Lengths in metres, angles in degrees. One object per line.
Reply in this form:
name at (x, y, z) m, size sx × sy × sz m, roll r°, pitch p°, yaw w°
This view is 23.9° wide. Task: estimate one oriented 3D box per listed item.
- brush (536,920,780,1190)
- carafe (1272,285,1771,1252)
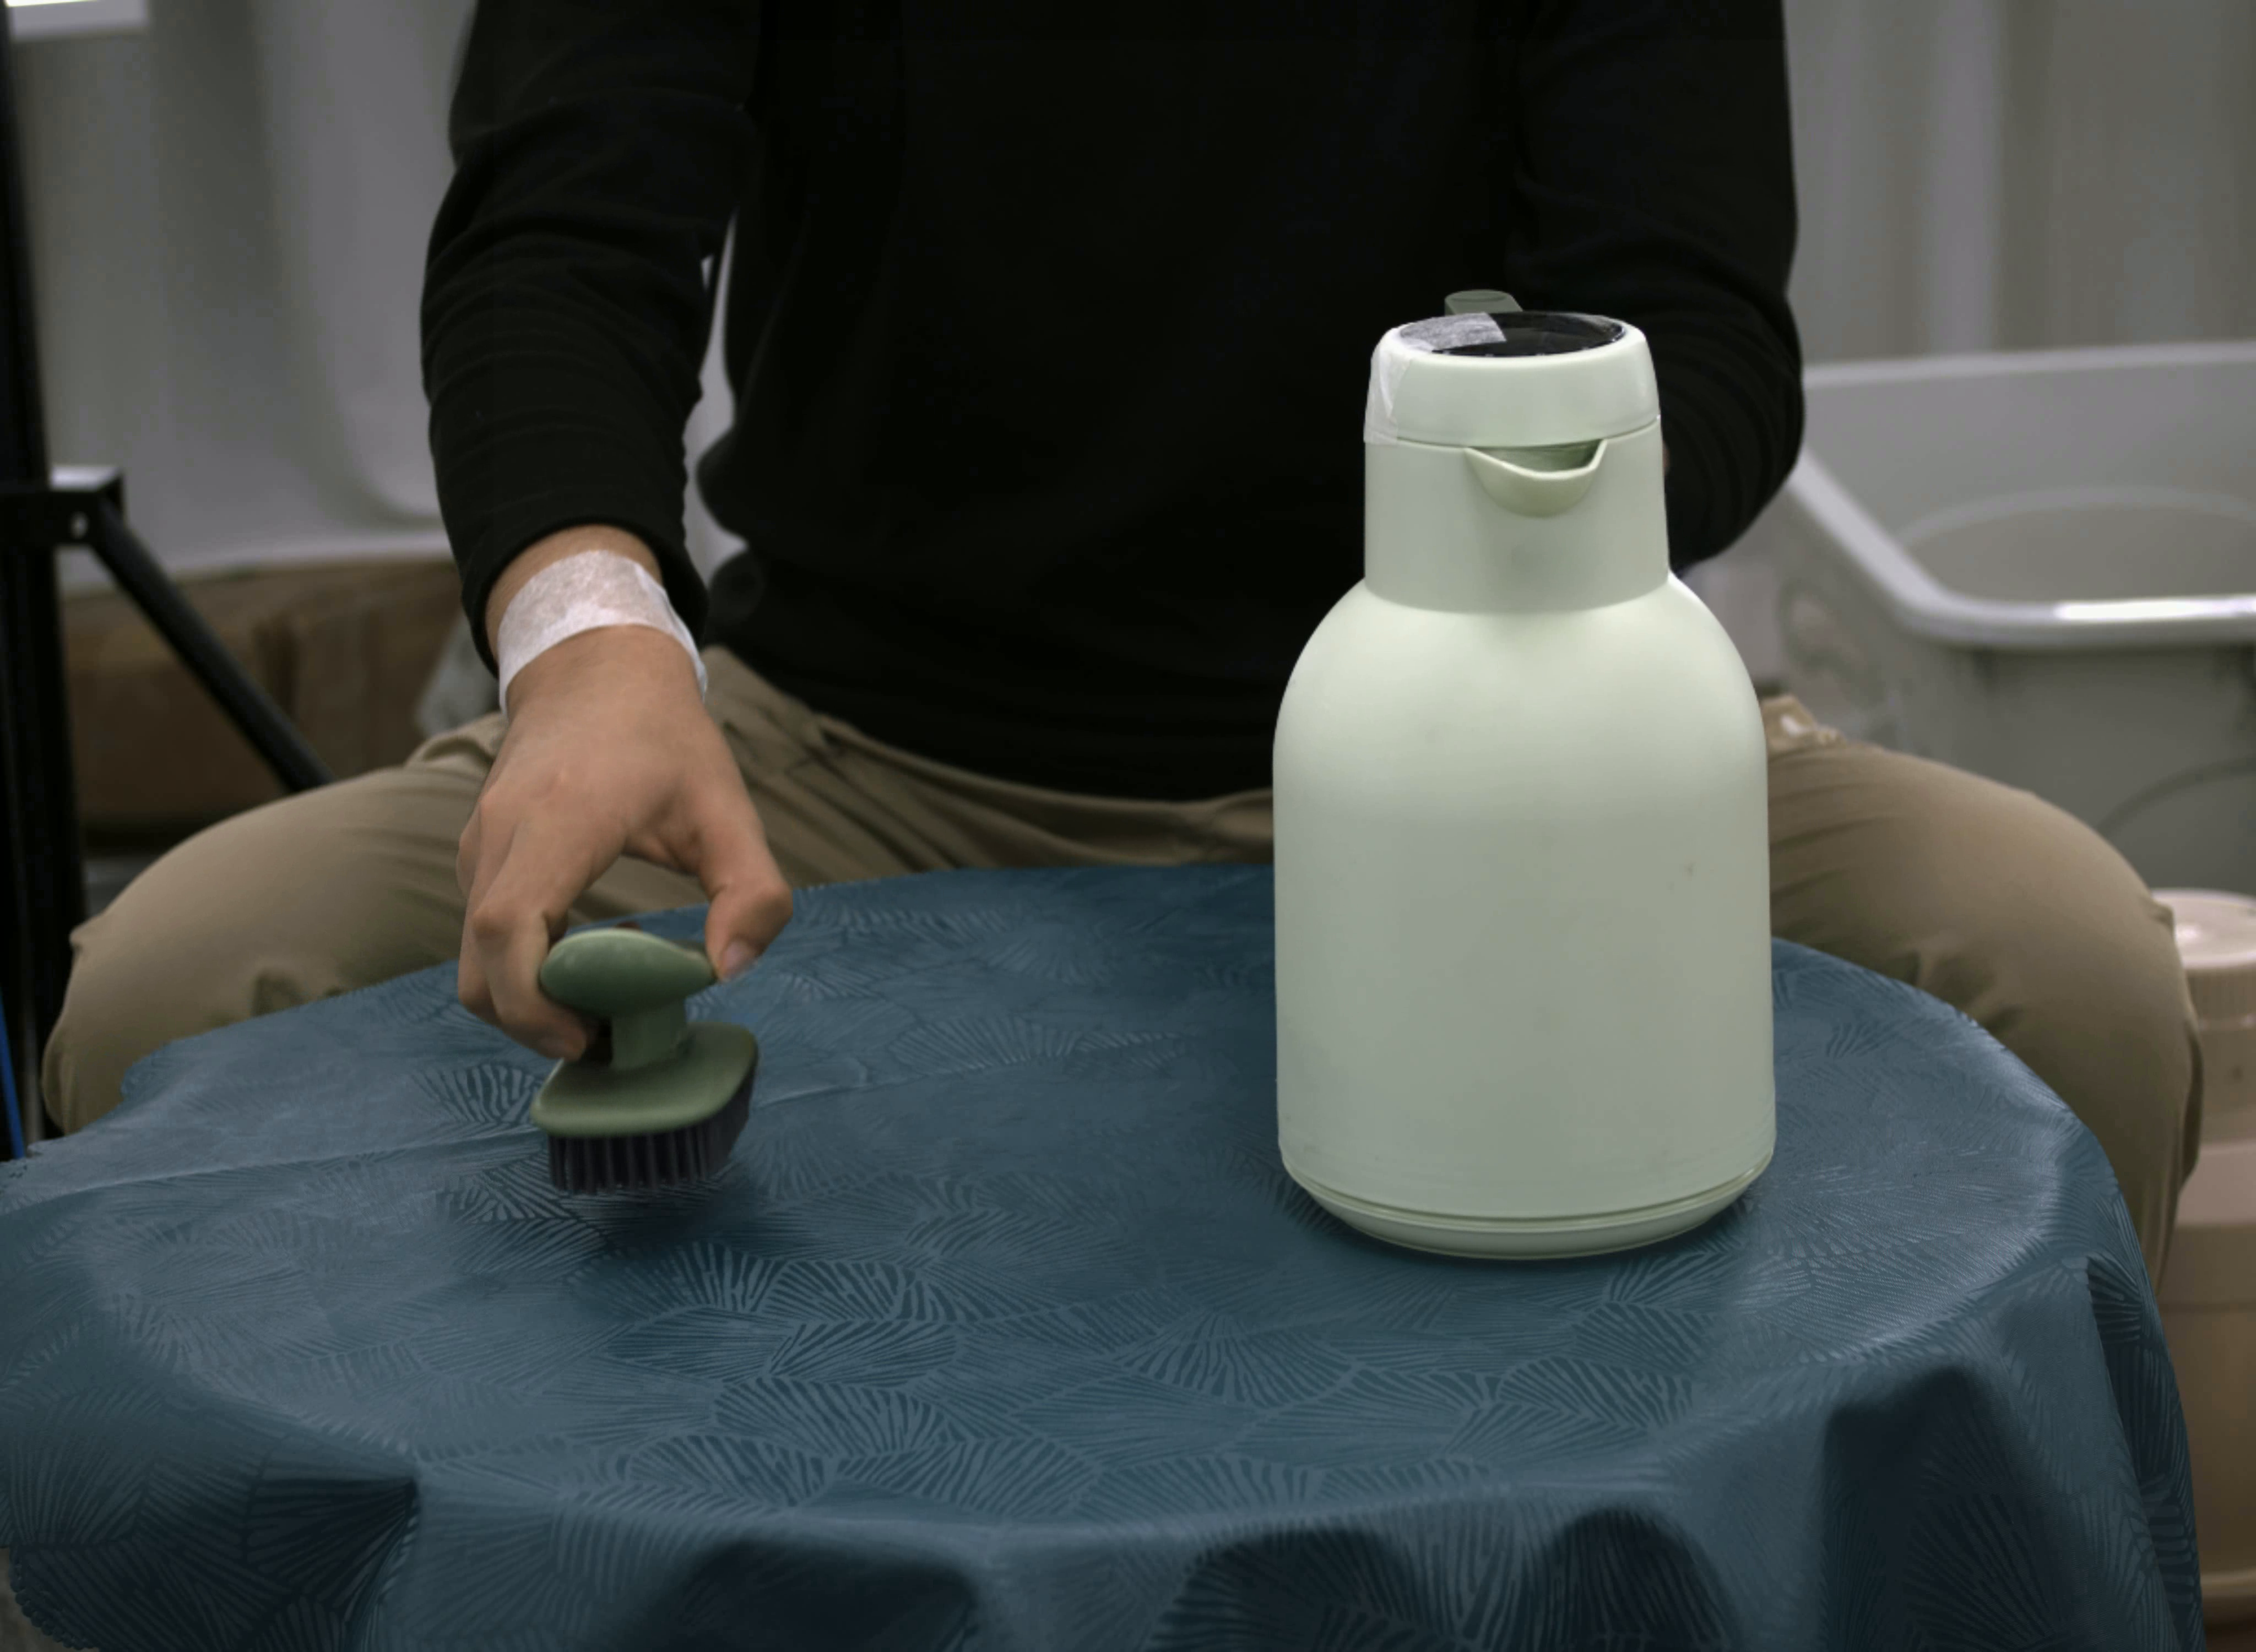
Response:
brush at (-0.137, 0.070, 1.559) m, size 0.060 × 0.076 × 0.121 m, roll -4°, pitch -7°, yaw 9°
carafe at (0.110, -0.021, 1.524) m, size 0.143 × 0.257 × 0.188 m, roll -3°, pitch 13°, yaw -4°
